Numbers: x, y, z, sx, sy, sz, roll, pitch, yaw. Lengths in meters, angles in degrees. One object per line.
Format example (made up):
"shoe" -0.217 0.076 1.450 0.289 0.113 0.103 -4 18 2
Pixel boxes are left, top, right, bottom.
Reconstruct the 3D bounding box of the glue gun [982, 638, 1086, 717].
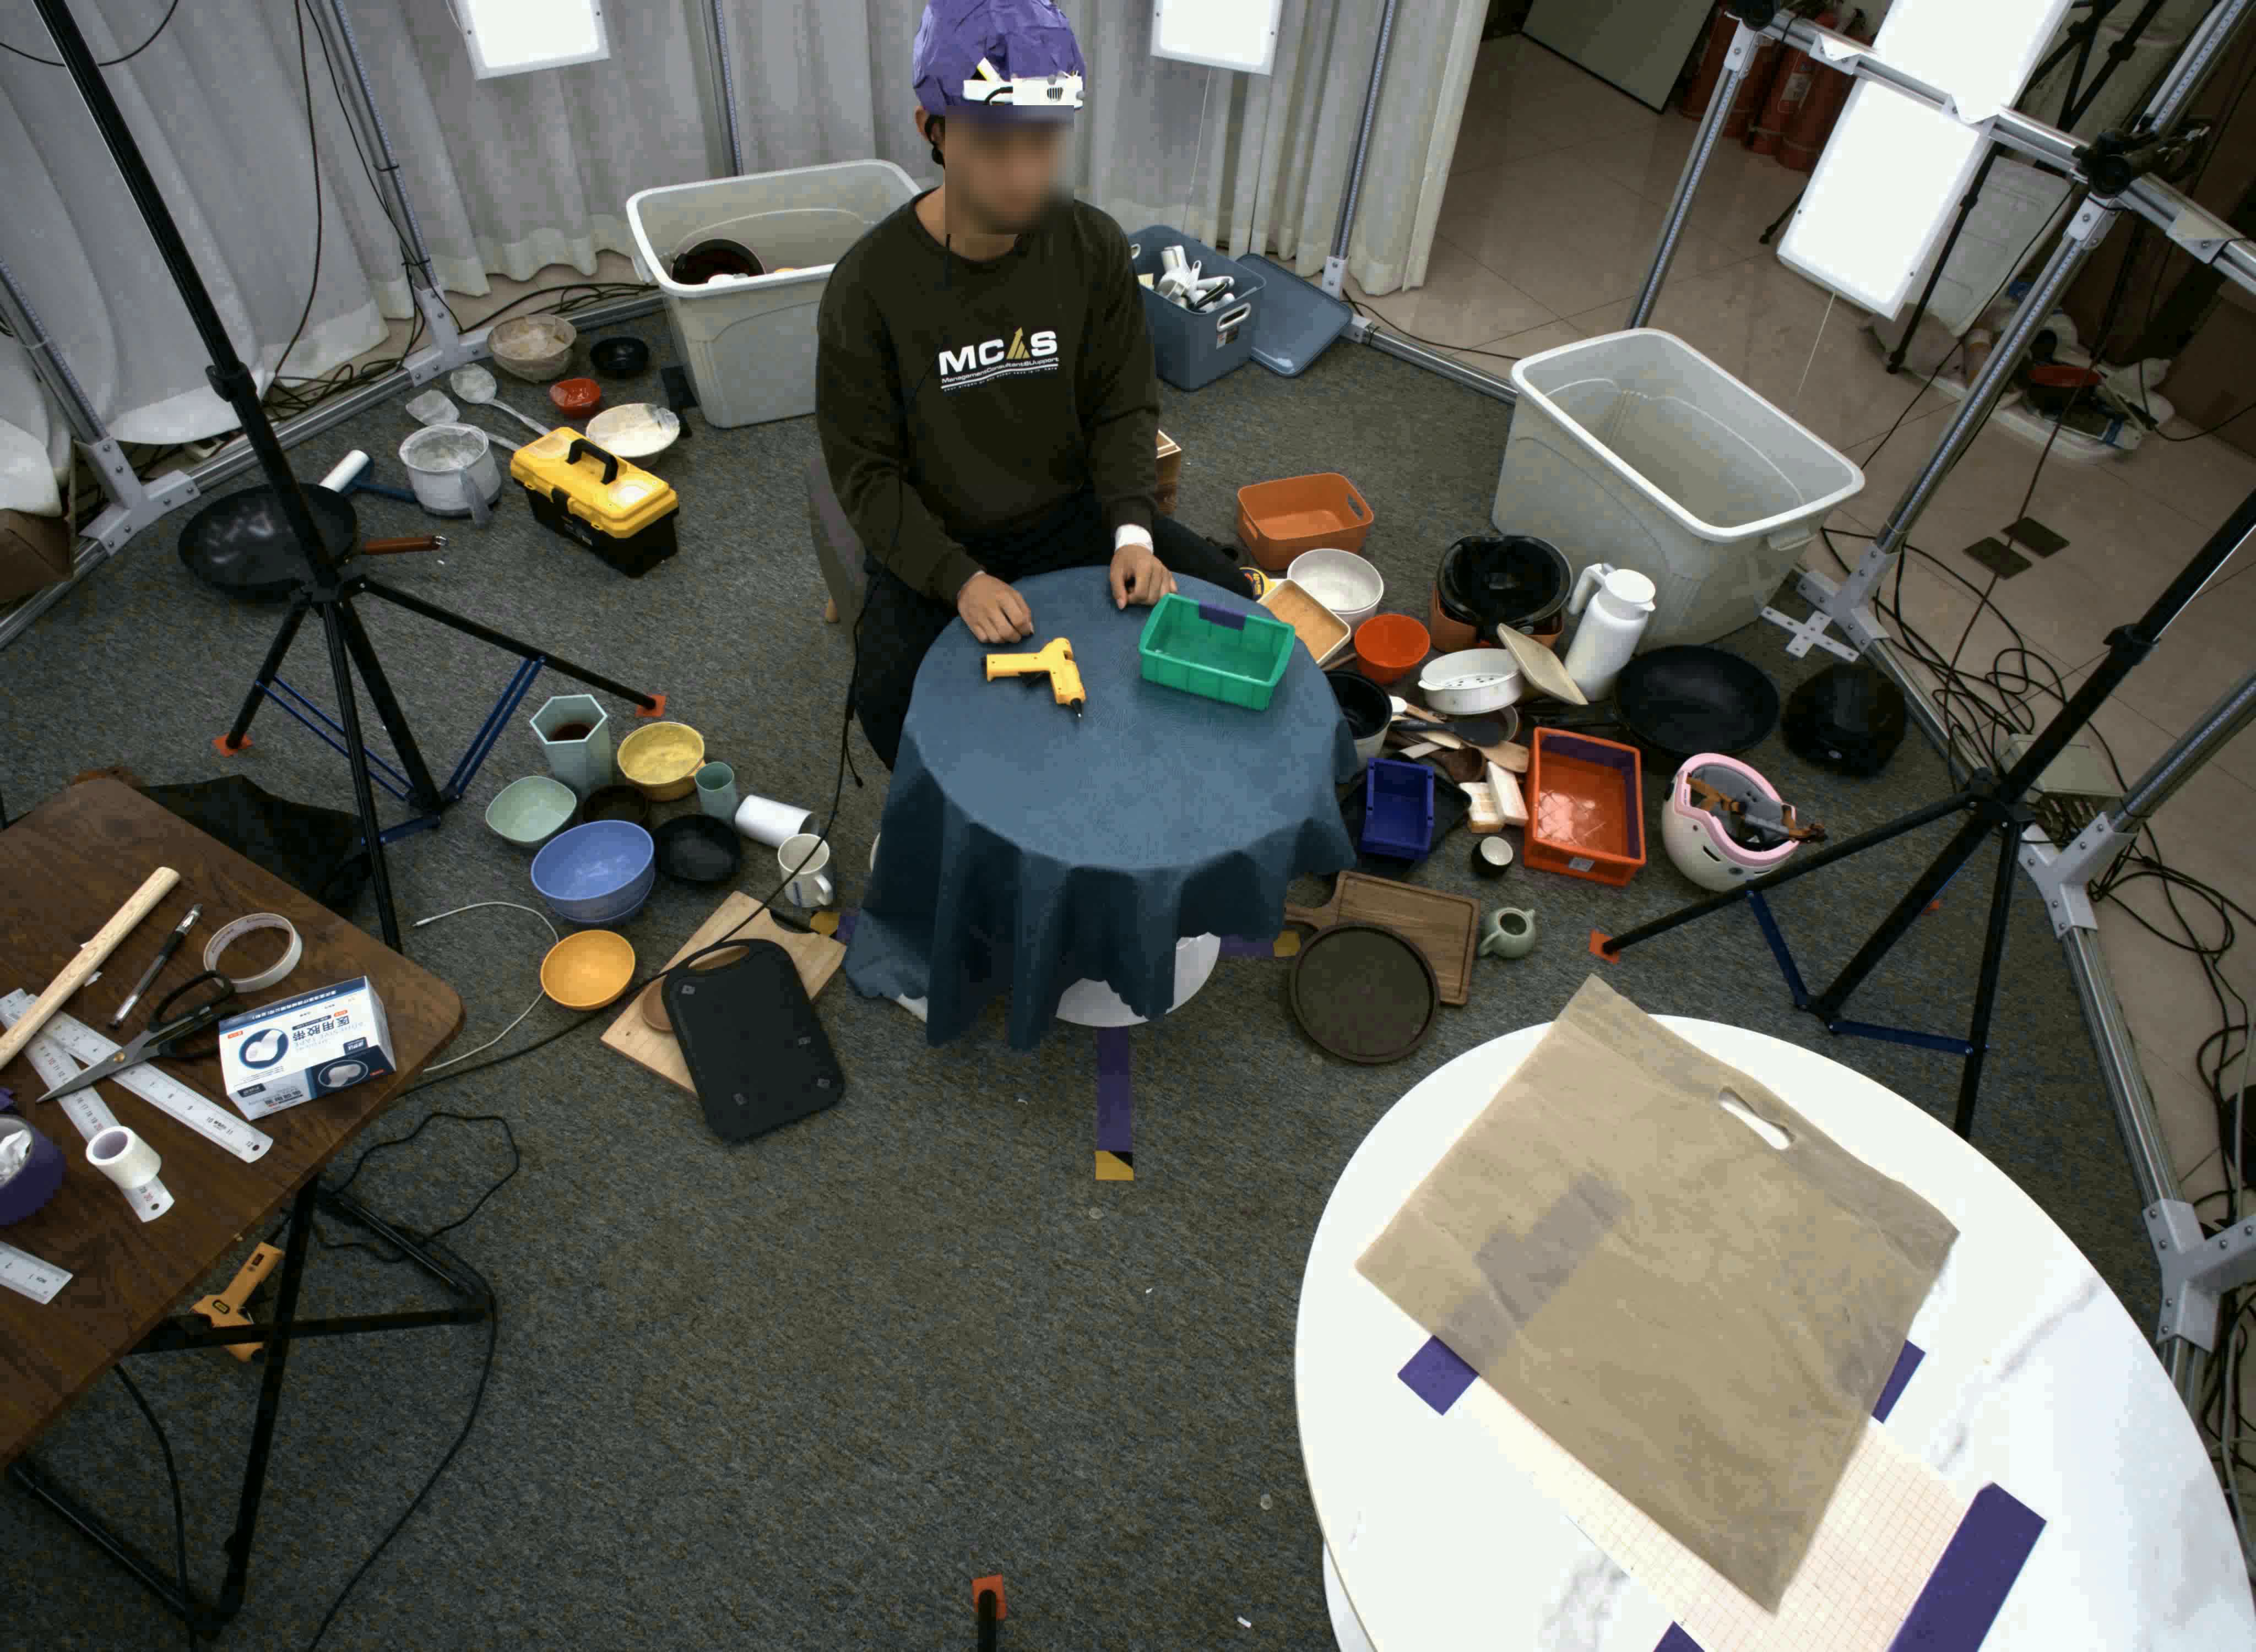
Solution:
"glue gun" -0.125 -0.198 1.807 0.133 0.030 0.155 -12 50 -13

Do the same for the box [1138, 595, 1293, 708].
"box" 0.124 -0.249 1.844 0.211 0.064 0.141 14 48 10
